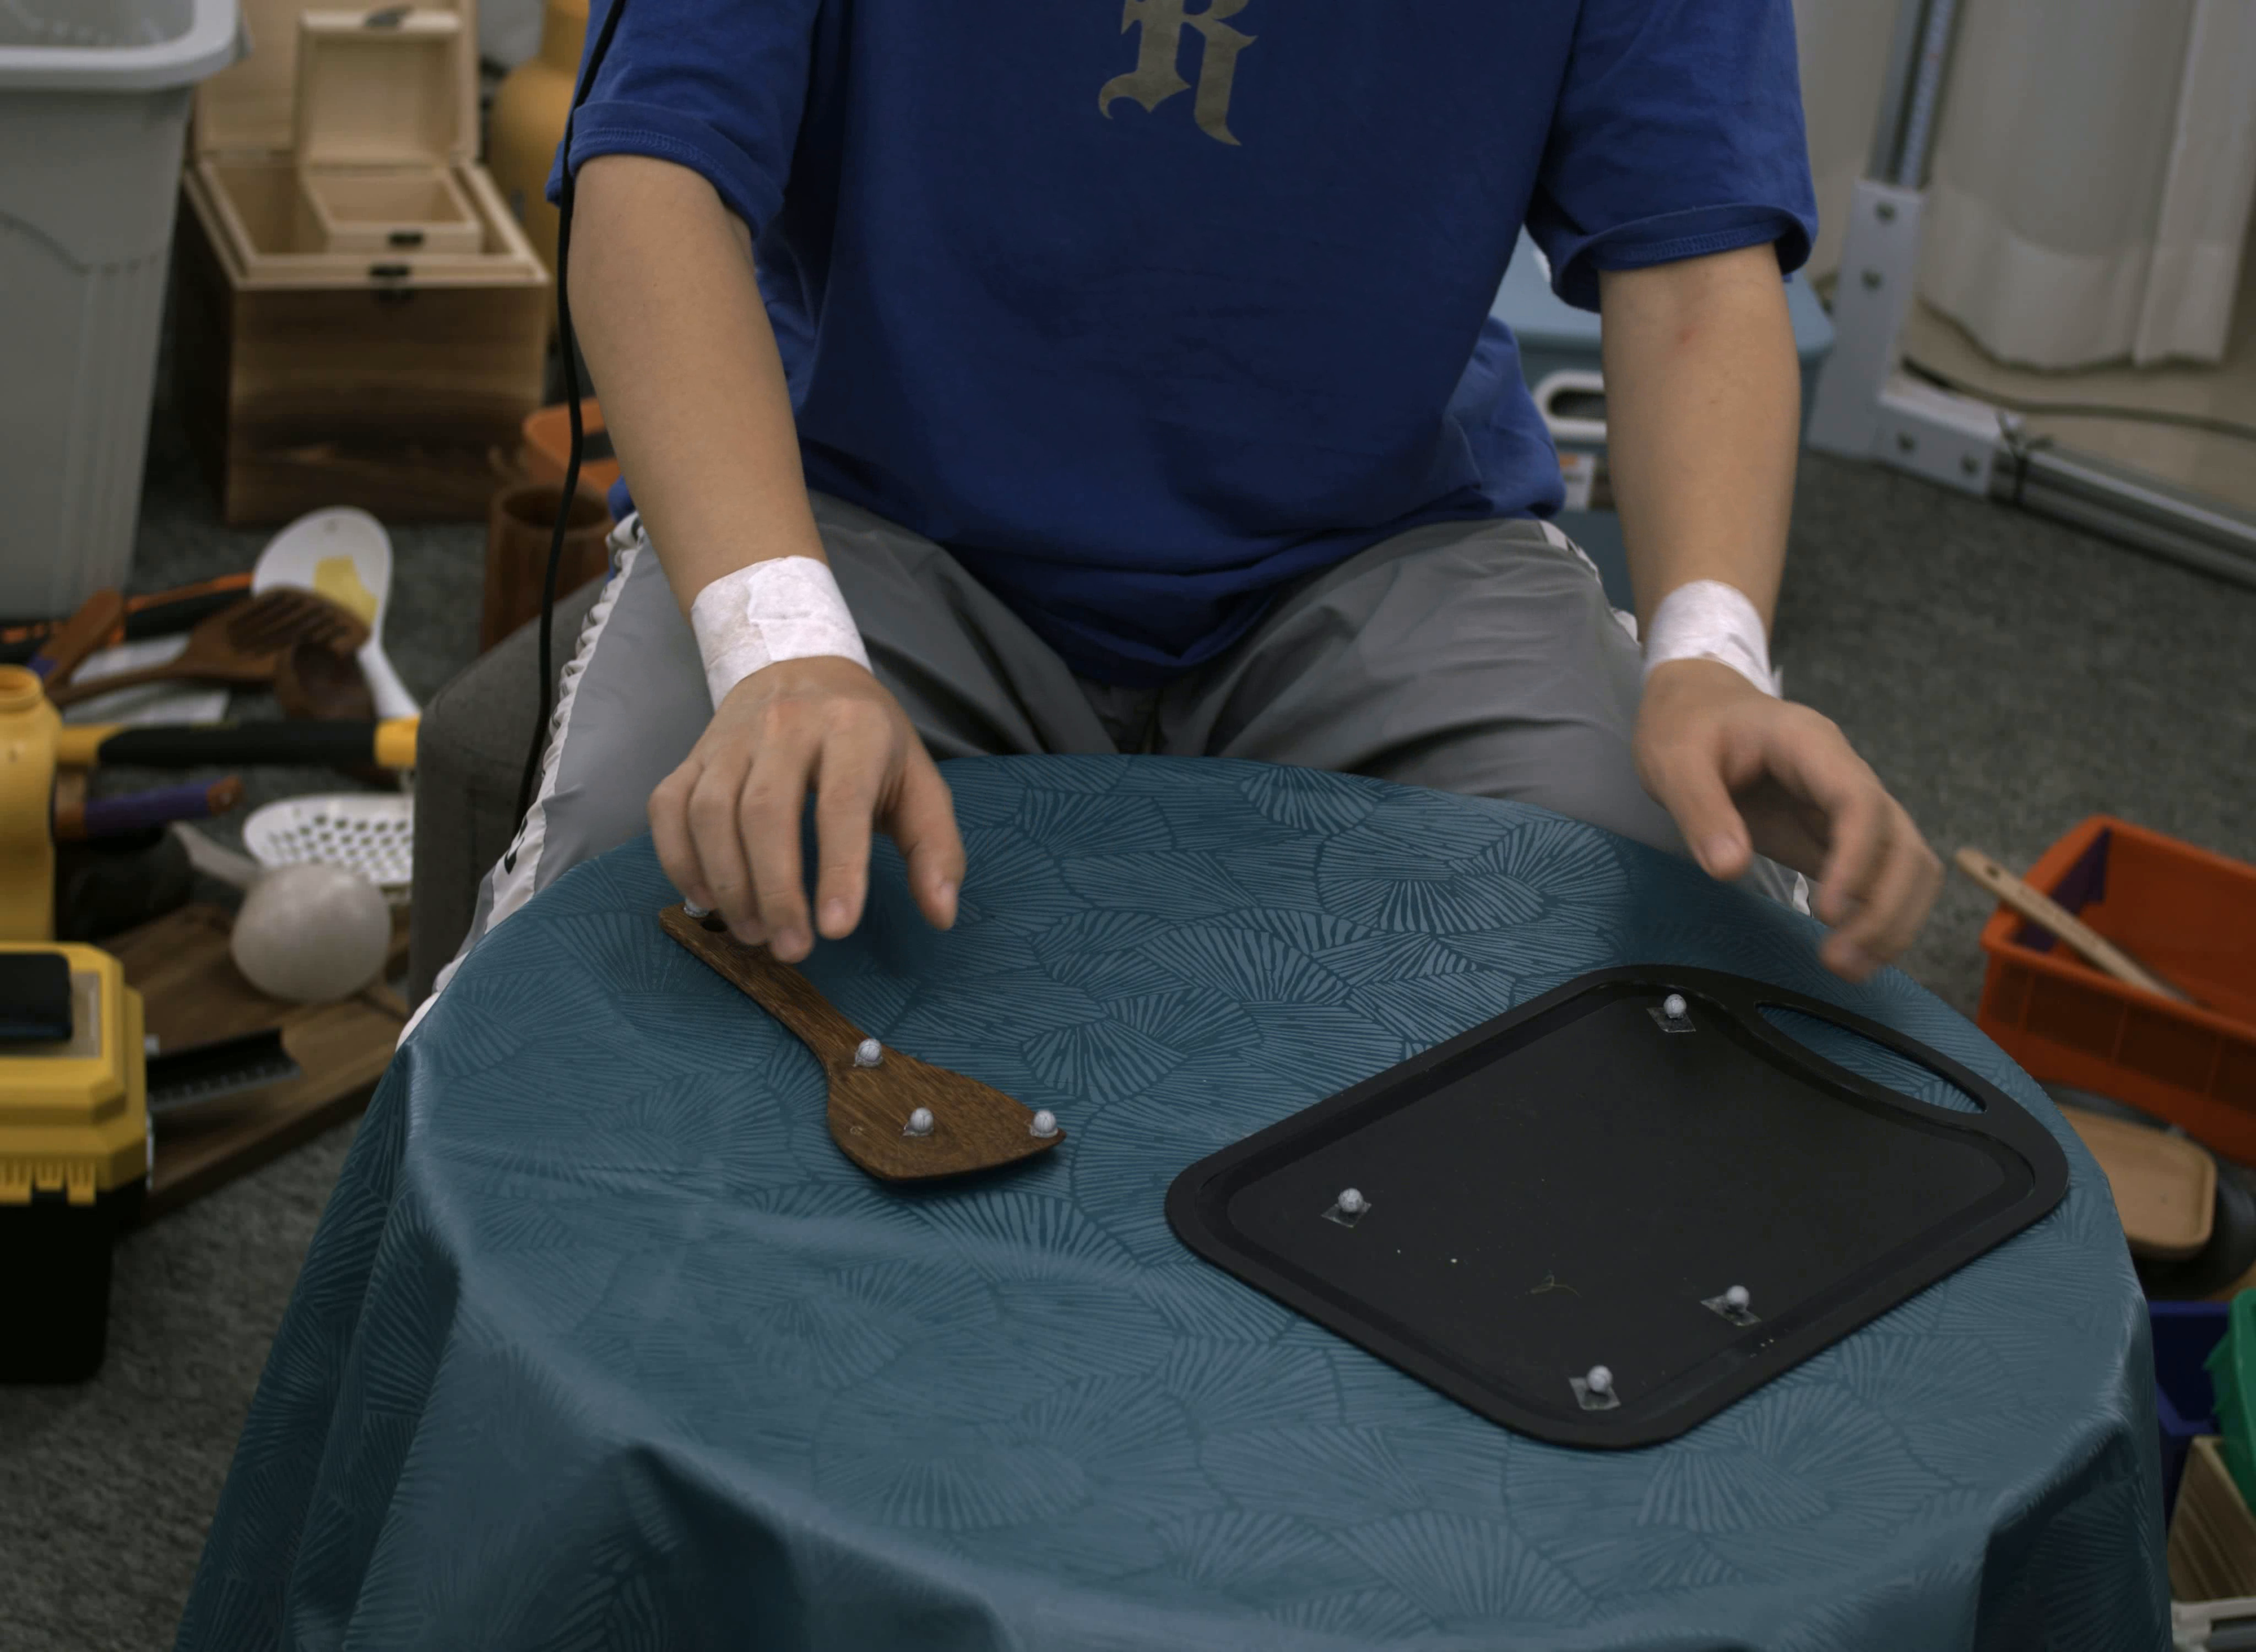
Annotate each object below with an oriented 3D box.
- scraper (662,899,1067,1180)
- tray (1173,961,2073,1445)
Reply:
[{"bbox_3d":[-0.104,0.073,1.870,0.075,0.011,0.213,-10,30,-32],"label":"scraper"},{"bbox_3d":[0.179,0.120,1.843,0.212,0.010,0.324,27,33,35],"label":"tray"}]
